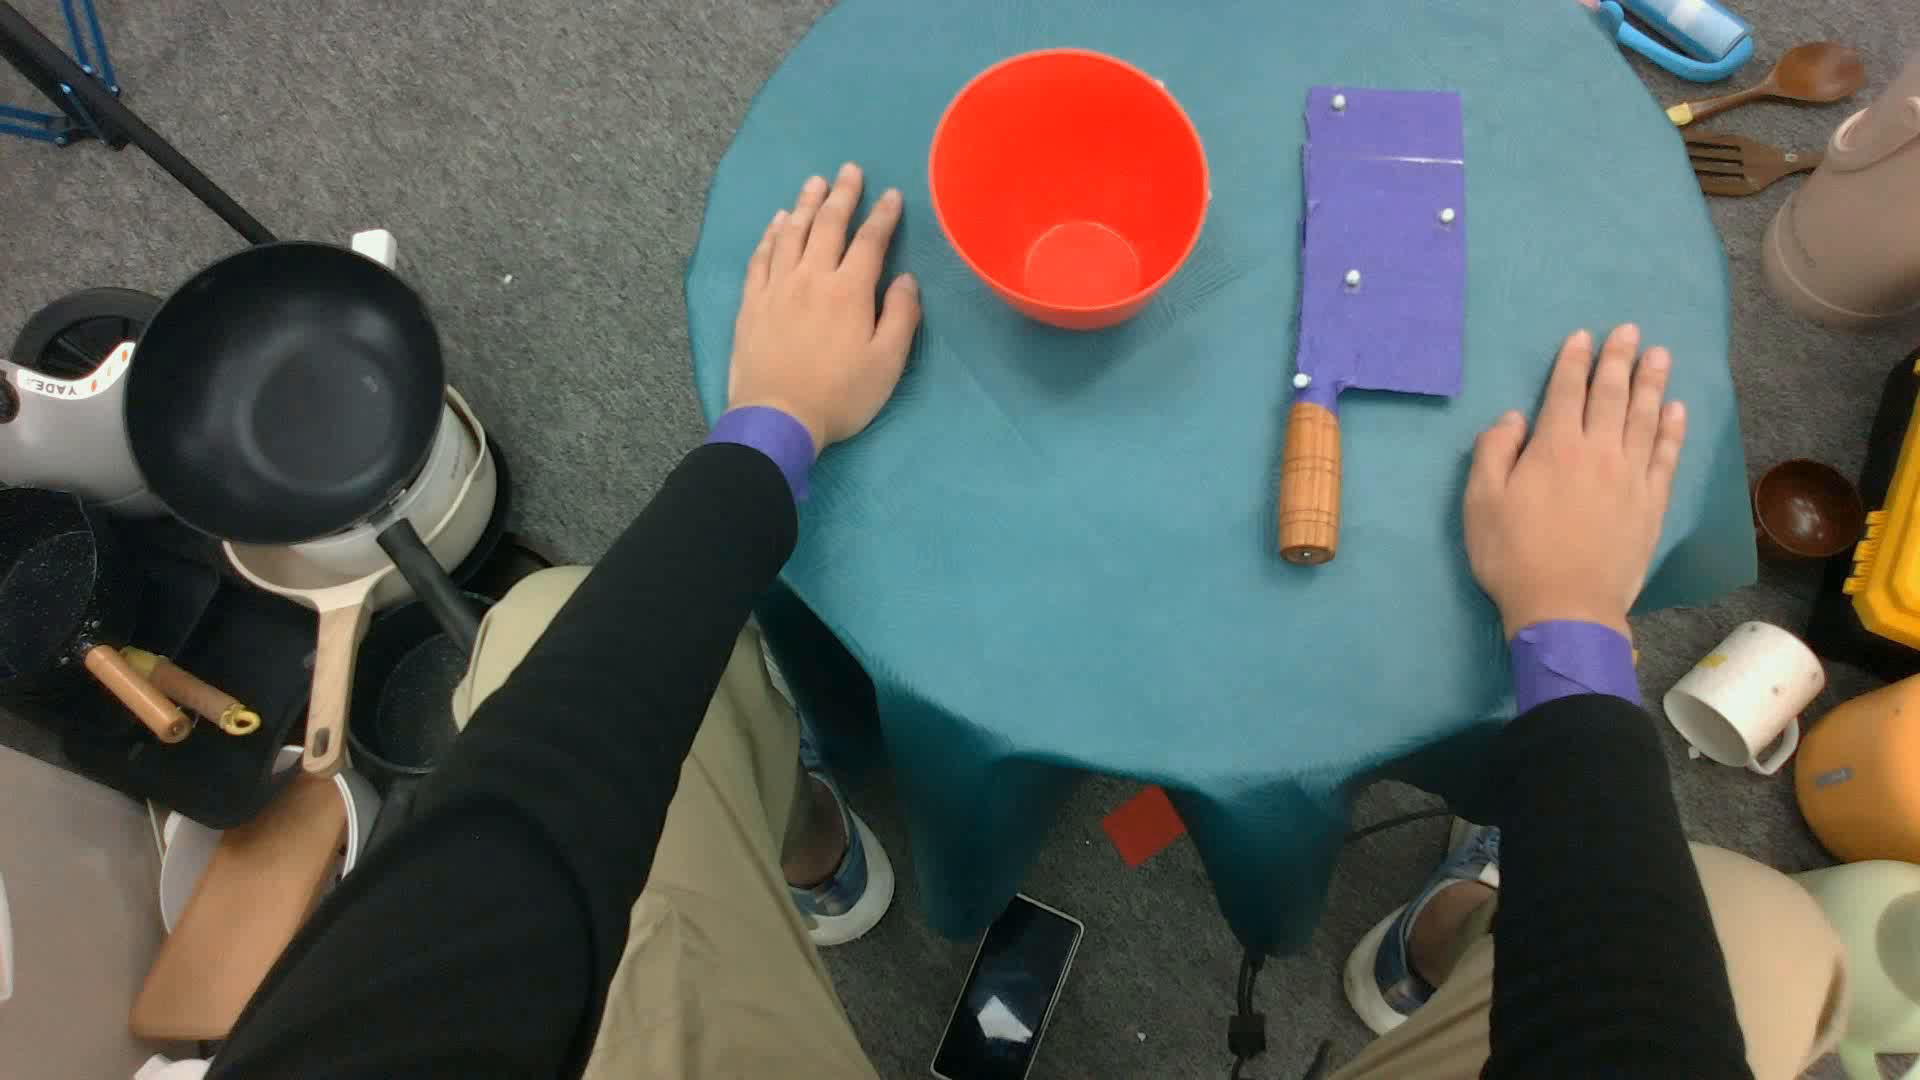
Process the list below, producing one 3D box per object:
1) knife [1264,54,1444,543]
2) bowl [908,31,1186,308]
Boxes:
[{"bbox_3d":[0.222,-0.148,0.782,0.104,0.032,0.316,4,71,5],"label":"knife"},{"bbox_3d":[0.048,-0.191,0.766,0.148,0.104,0.148,0,70,1],"label":"bowl"}]
